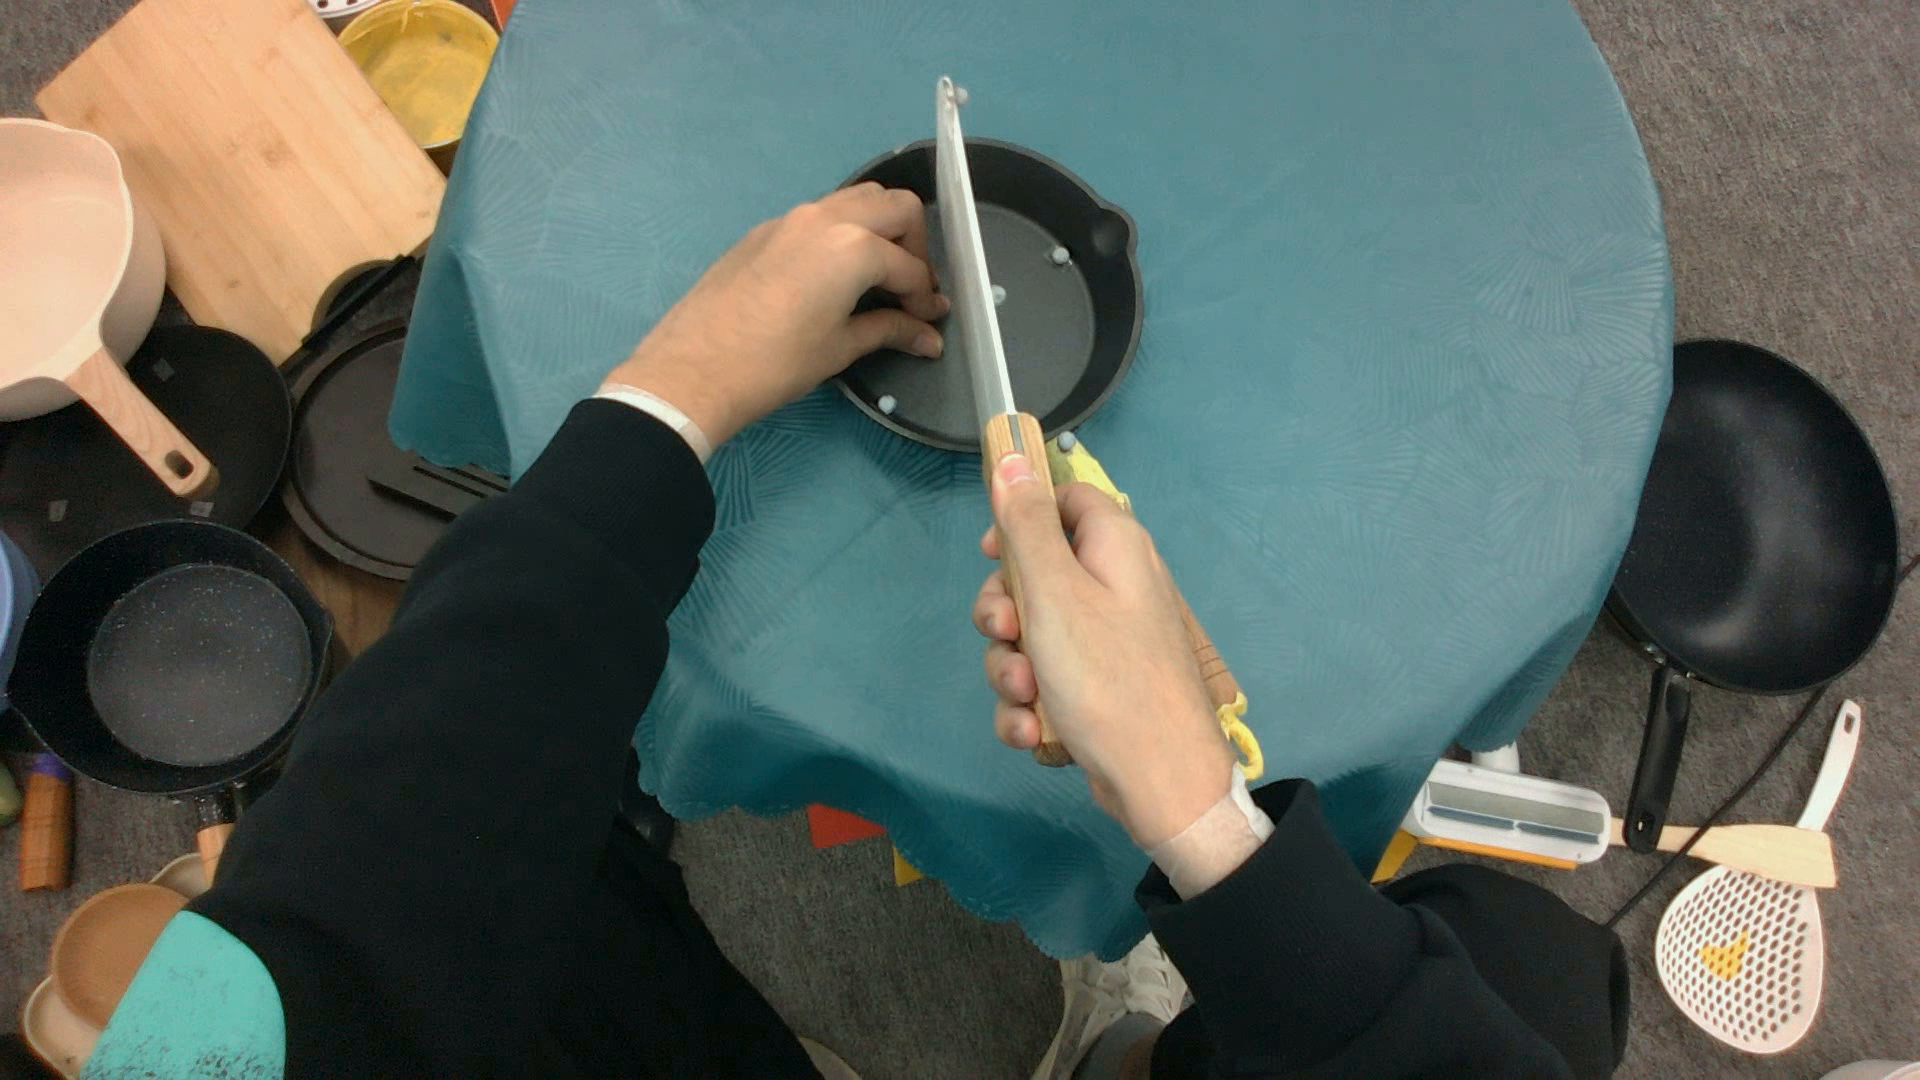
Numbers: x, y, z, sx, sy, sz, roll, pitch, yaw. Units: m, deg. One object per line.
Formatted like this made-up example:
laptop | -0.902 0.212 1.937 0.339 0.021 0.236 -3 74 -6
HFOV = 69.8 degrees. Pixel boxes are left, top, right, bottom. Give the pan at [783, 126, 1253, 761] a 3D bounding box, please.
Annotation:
pan | 0.037 -0.044 0.612 0.169 0.049 0.324 -25 77 -14

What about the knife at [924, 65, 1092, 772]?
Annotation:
knife | 0.009 -0.057 0.542 0.022 0.113 0.316 -6 57 -7
